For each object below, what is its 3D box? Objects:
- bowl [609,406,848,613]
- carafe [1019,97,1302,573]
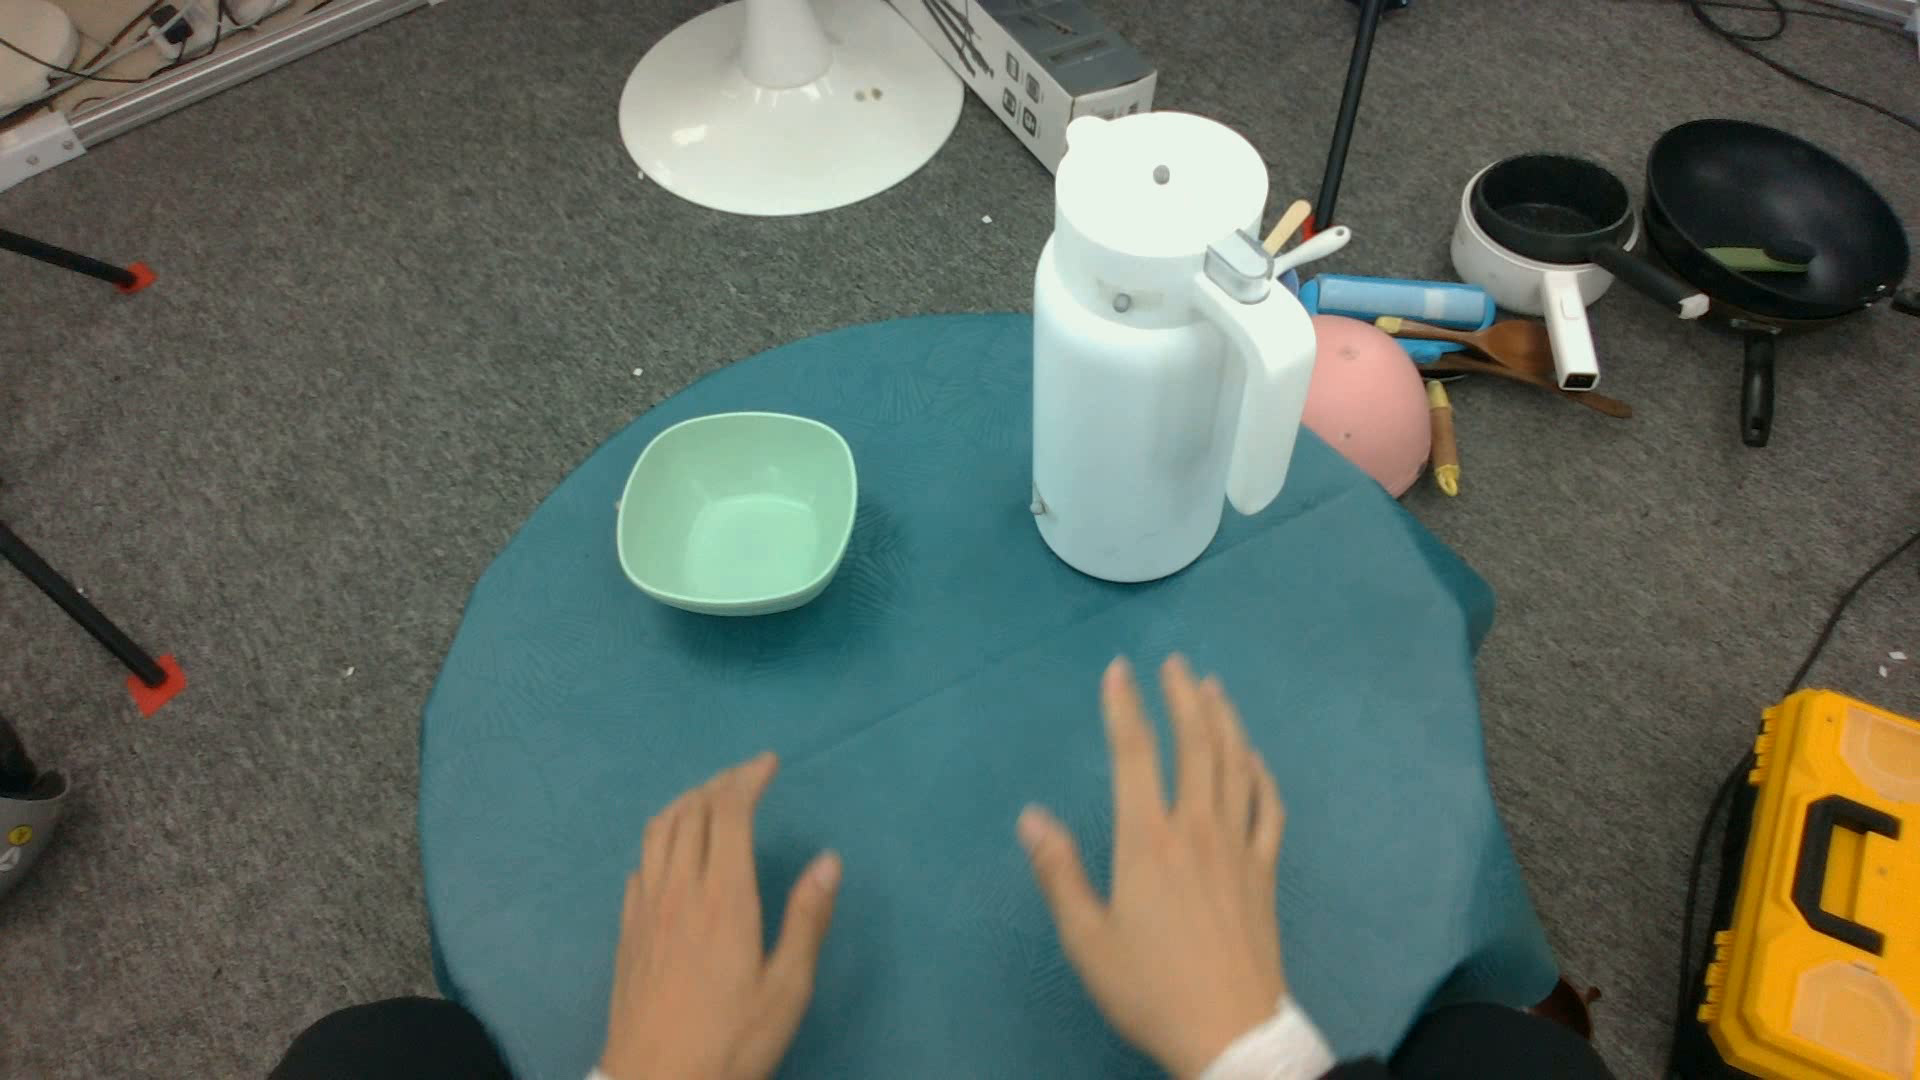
[{"bbox_3d":[-0.135,-0.009,0.829,0.151,0.058,0.152,0,58,1],"label":"bowl"},{"bbox_3d":[0.102,-0.088,0.743,0.124,0.267,0.173,-30,60,-19],"label":"carafe"}]
